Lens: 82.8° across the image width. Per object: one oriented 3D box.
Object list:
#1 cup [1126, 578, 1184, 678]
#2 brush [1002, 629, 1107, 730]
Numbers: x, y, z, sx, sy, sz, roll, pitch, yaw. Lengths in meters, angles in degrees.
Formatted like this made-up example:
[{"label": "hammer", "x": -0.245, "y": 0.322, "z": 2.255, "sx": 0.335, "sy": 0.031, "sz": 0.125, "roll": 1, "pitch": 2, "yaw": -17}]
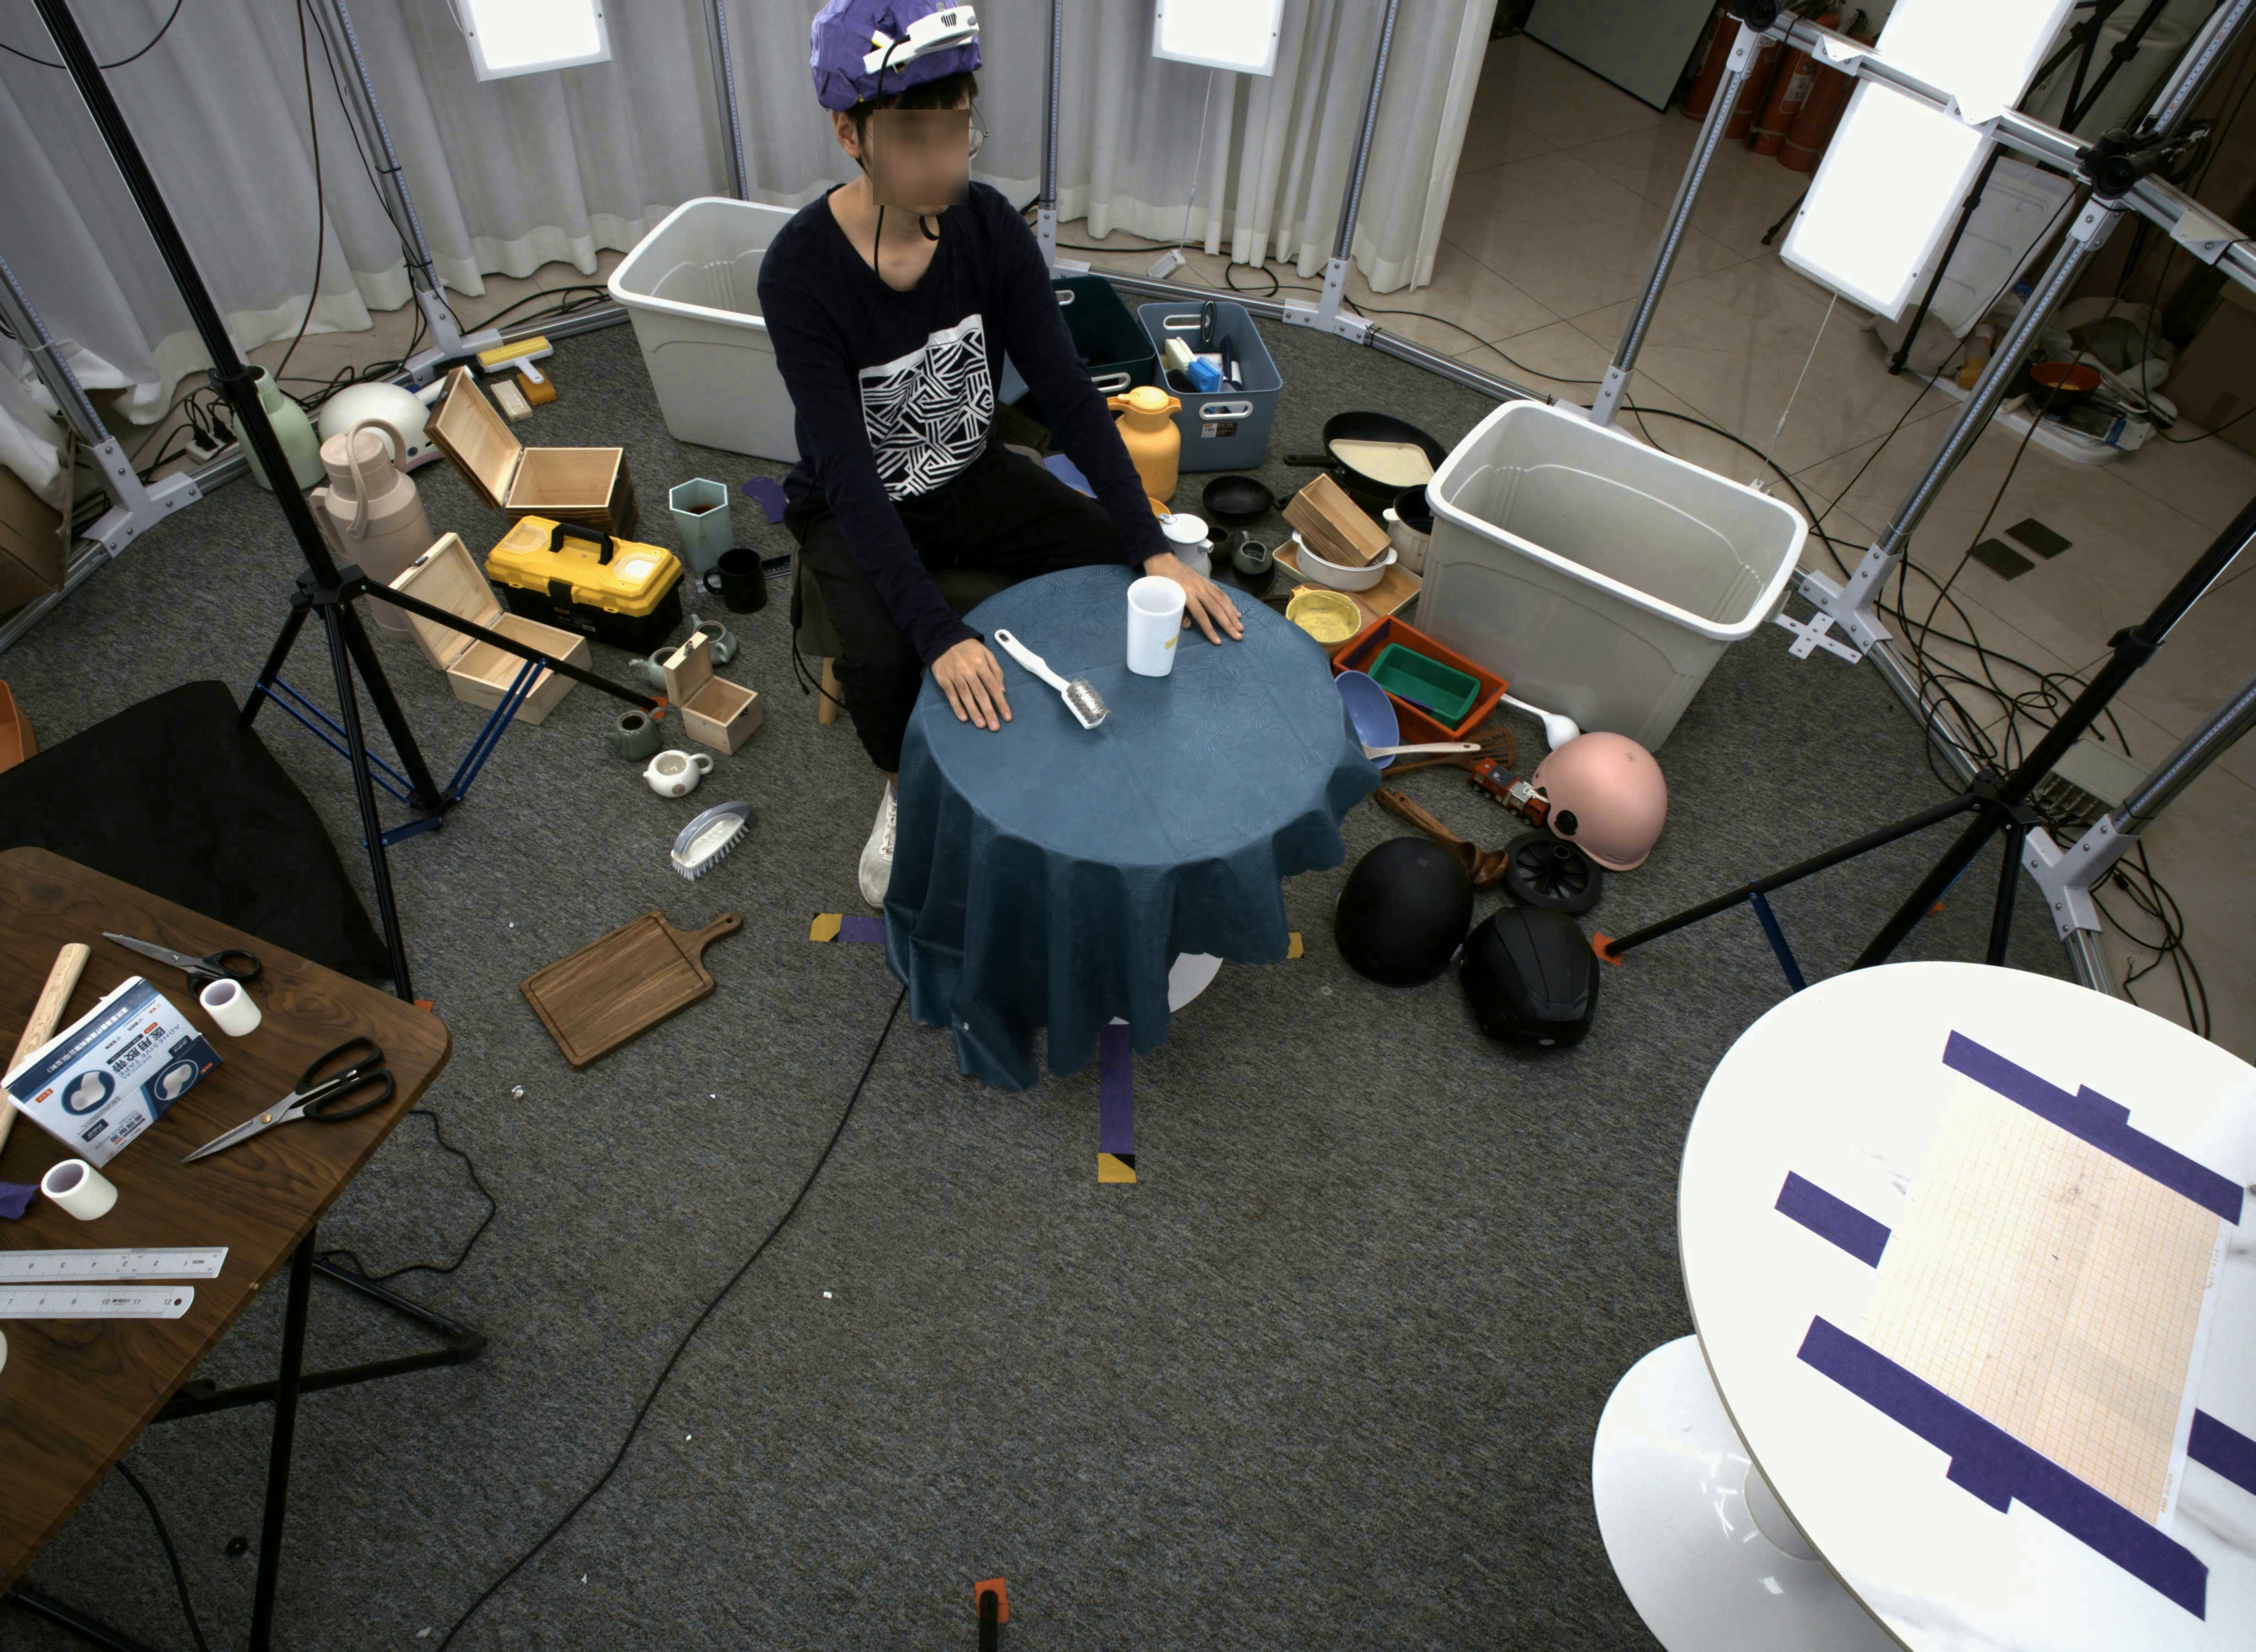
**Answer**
[{"label": "cup", "x": 0.035, "y": -0.280, "z": 1.835, "sx": 0.081, "sy": 0.122, "sz": 0.084, "roll": 2, "pitch": 47, "yaw": -2}, {"label": "brush", "x": -0.109, "y": -0.222, "z": 1.824, "sx": 0.034, "sy": 0.049, "sz": 0.248, "roll": -29, "pitch": 56, "yaw": -20}]
